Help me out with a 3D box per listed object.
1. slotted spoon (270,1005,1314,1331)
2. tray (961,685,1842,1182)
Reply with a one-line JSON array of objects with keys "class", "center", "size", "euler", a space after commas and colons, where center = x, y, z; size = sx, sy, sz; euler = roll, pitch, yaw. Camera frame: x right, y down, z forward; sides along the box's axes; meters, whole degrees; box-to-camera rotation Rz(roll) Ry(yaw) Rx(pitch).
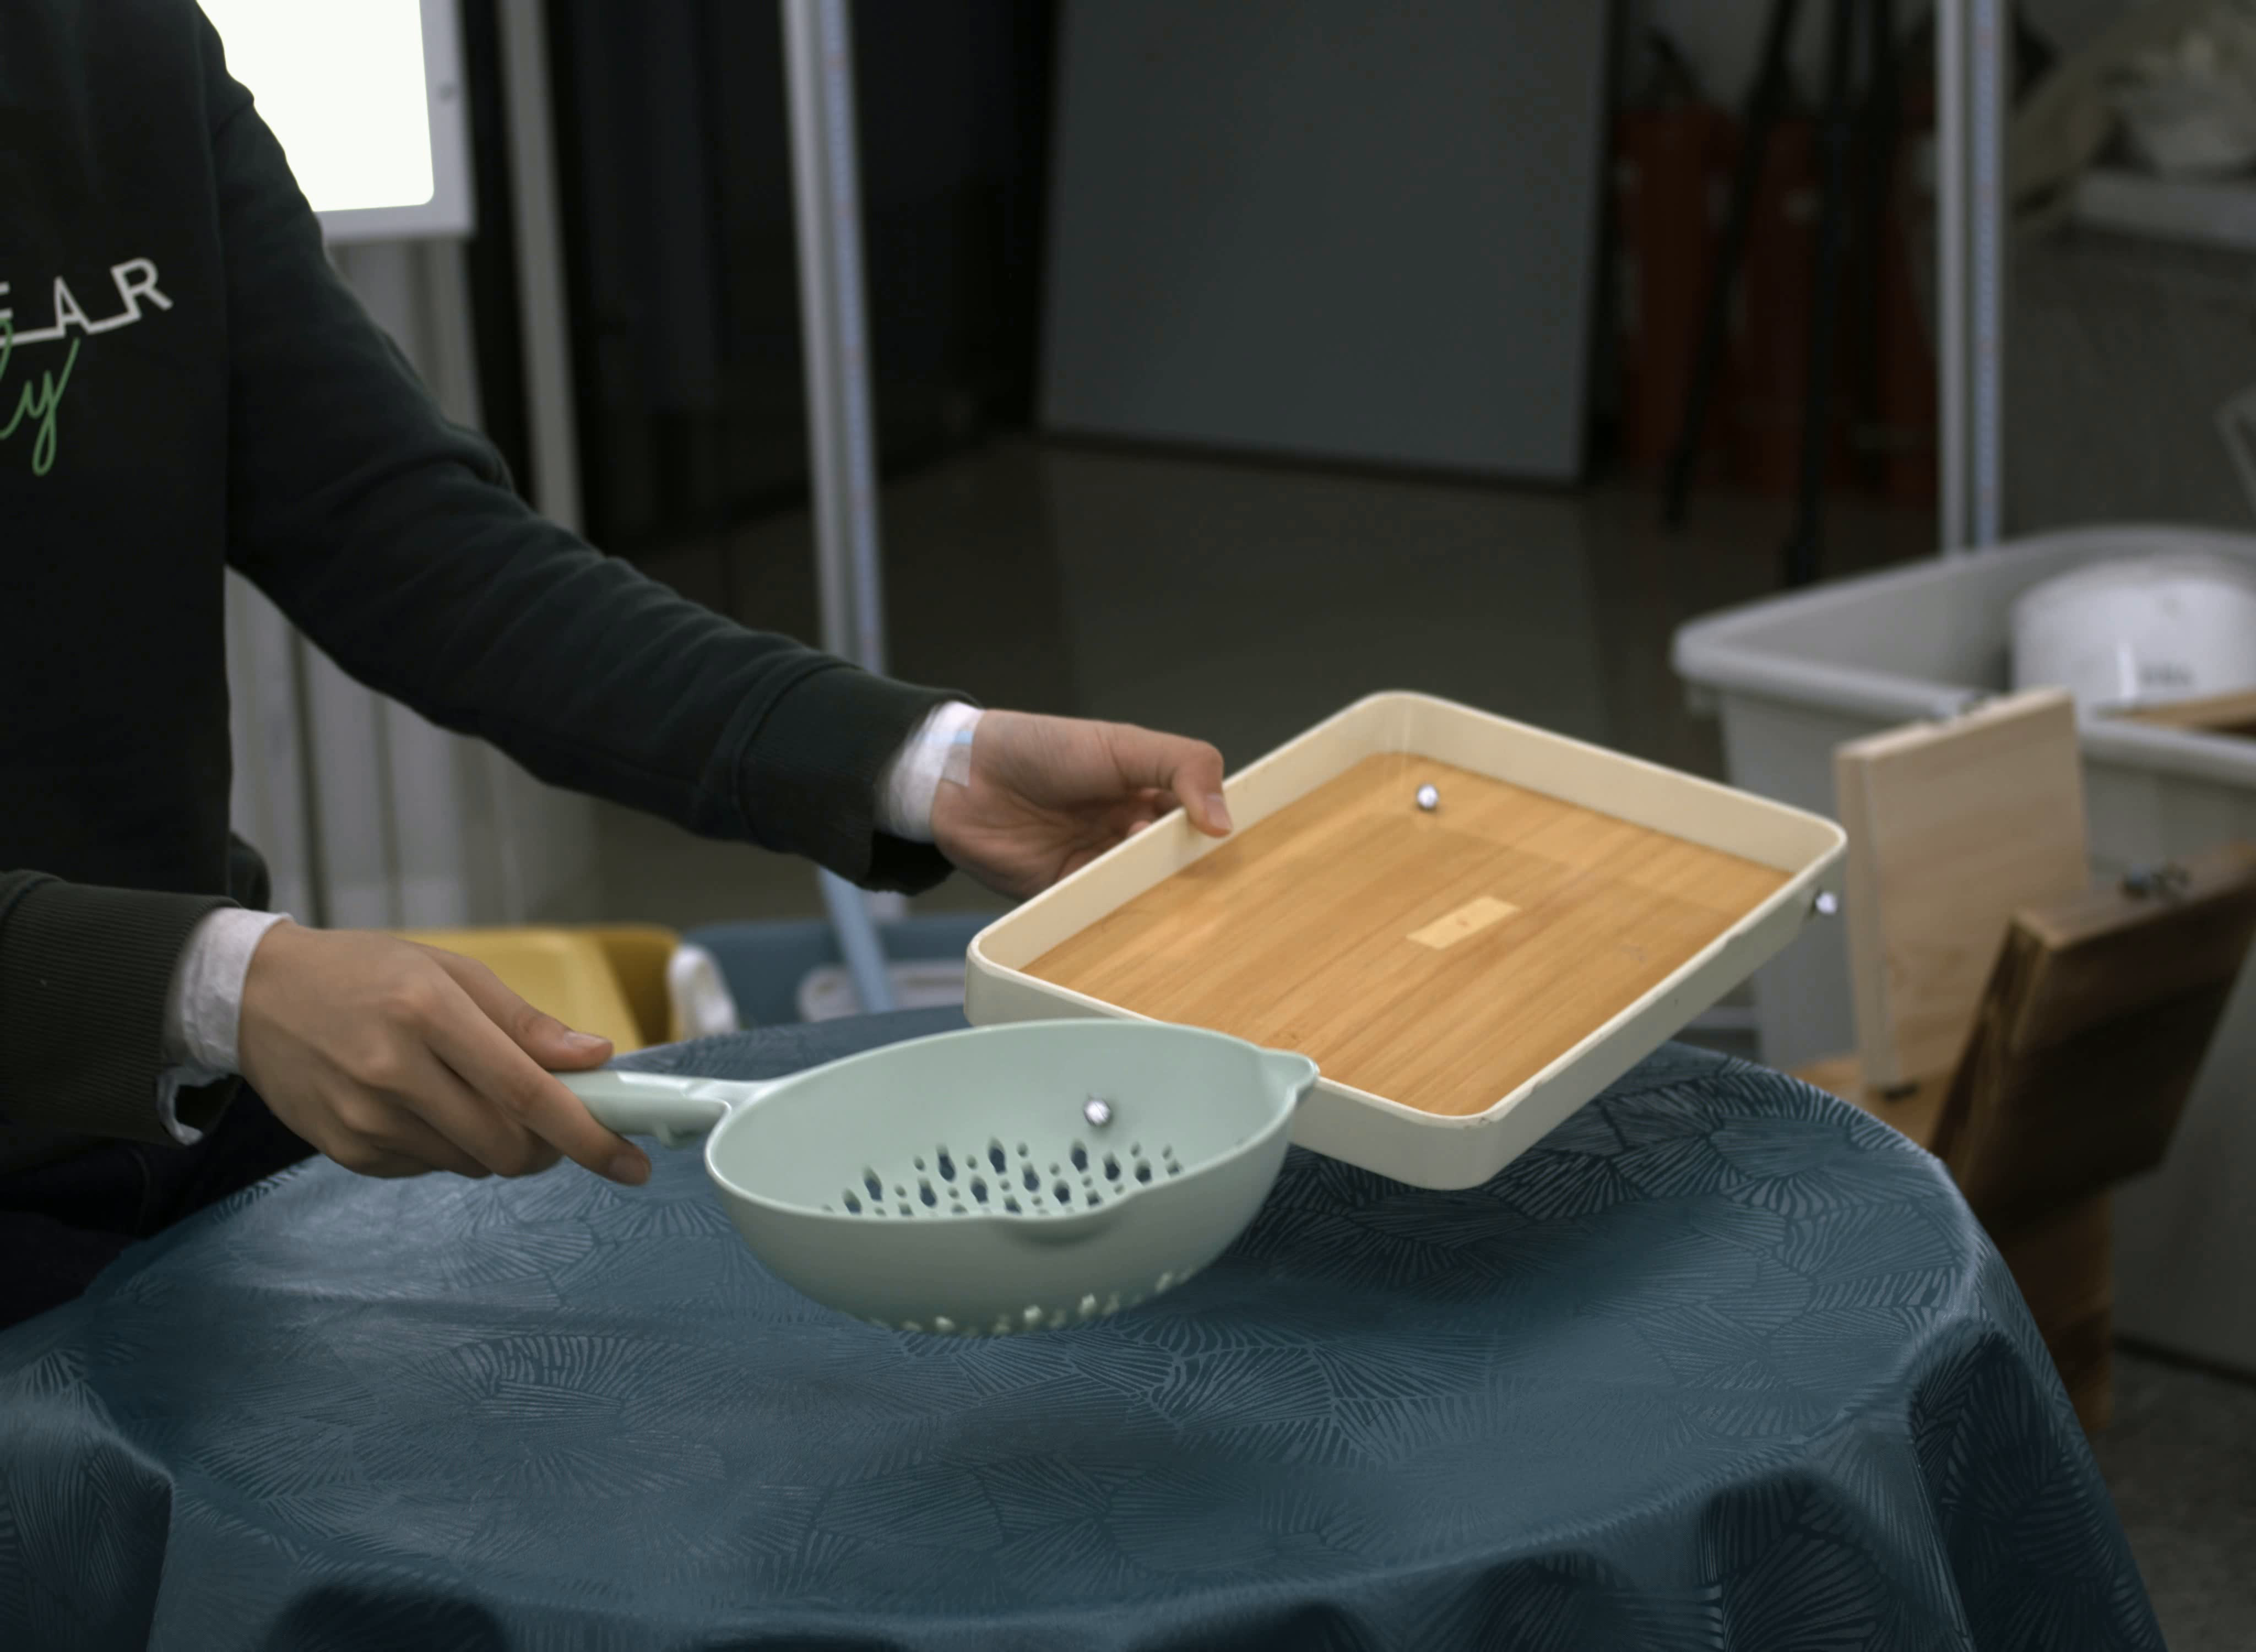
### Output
[{"class": "slotted spoon", "center": [-0.116, 0.086, 1.578], "size": [0.361, 0.076, 0.166], "euler": [12, 22, 32]}, {"class": "tray", "center": [0.095, 0.030, 1.776], "size": [0.192, 0.028, 0.296], "euler": [17, 27, 27]}]
